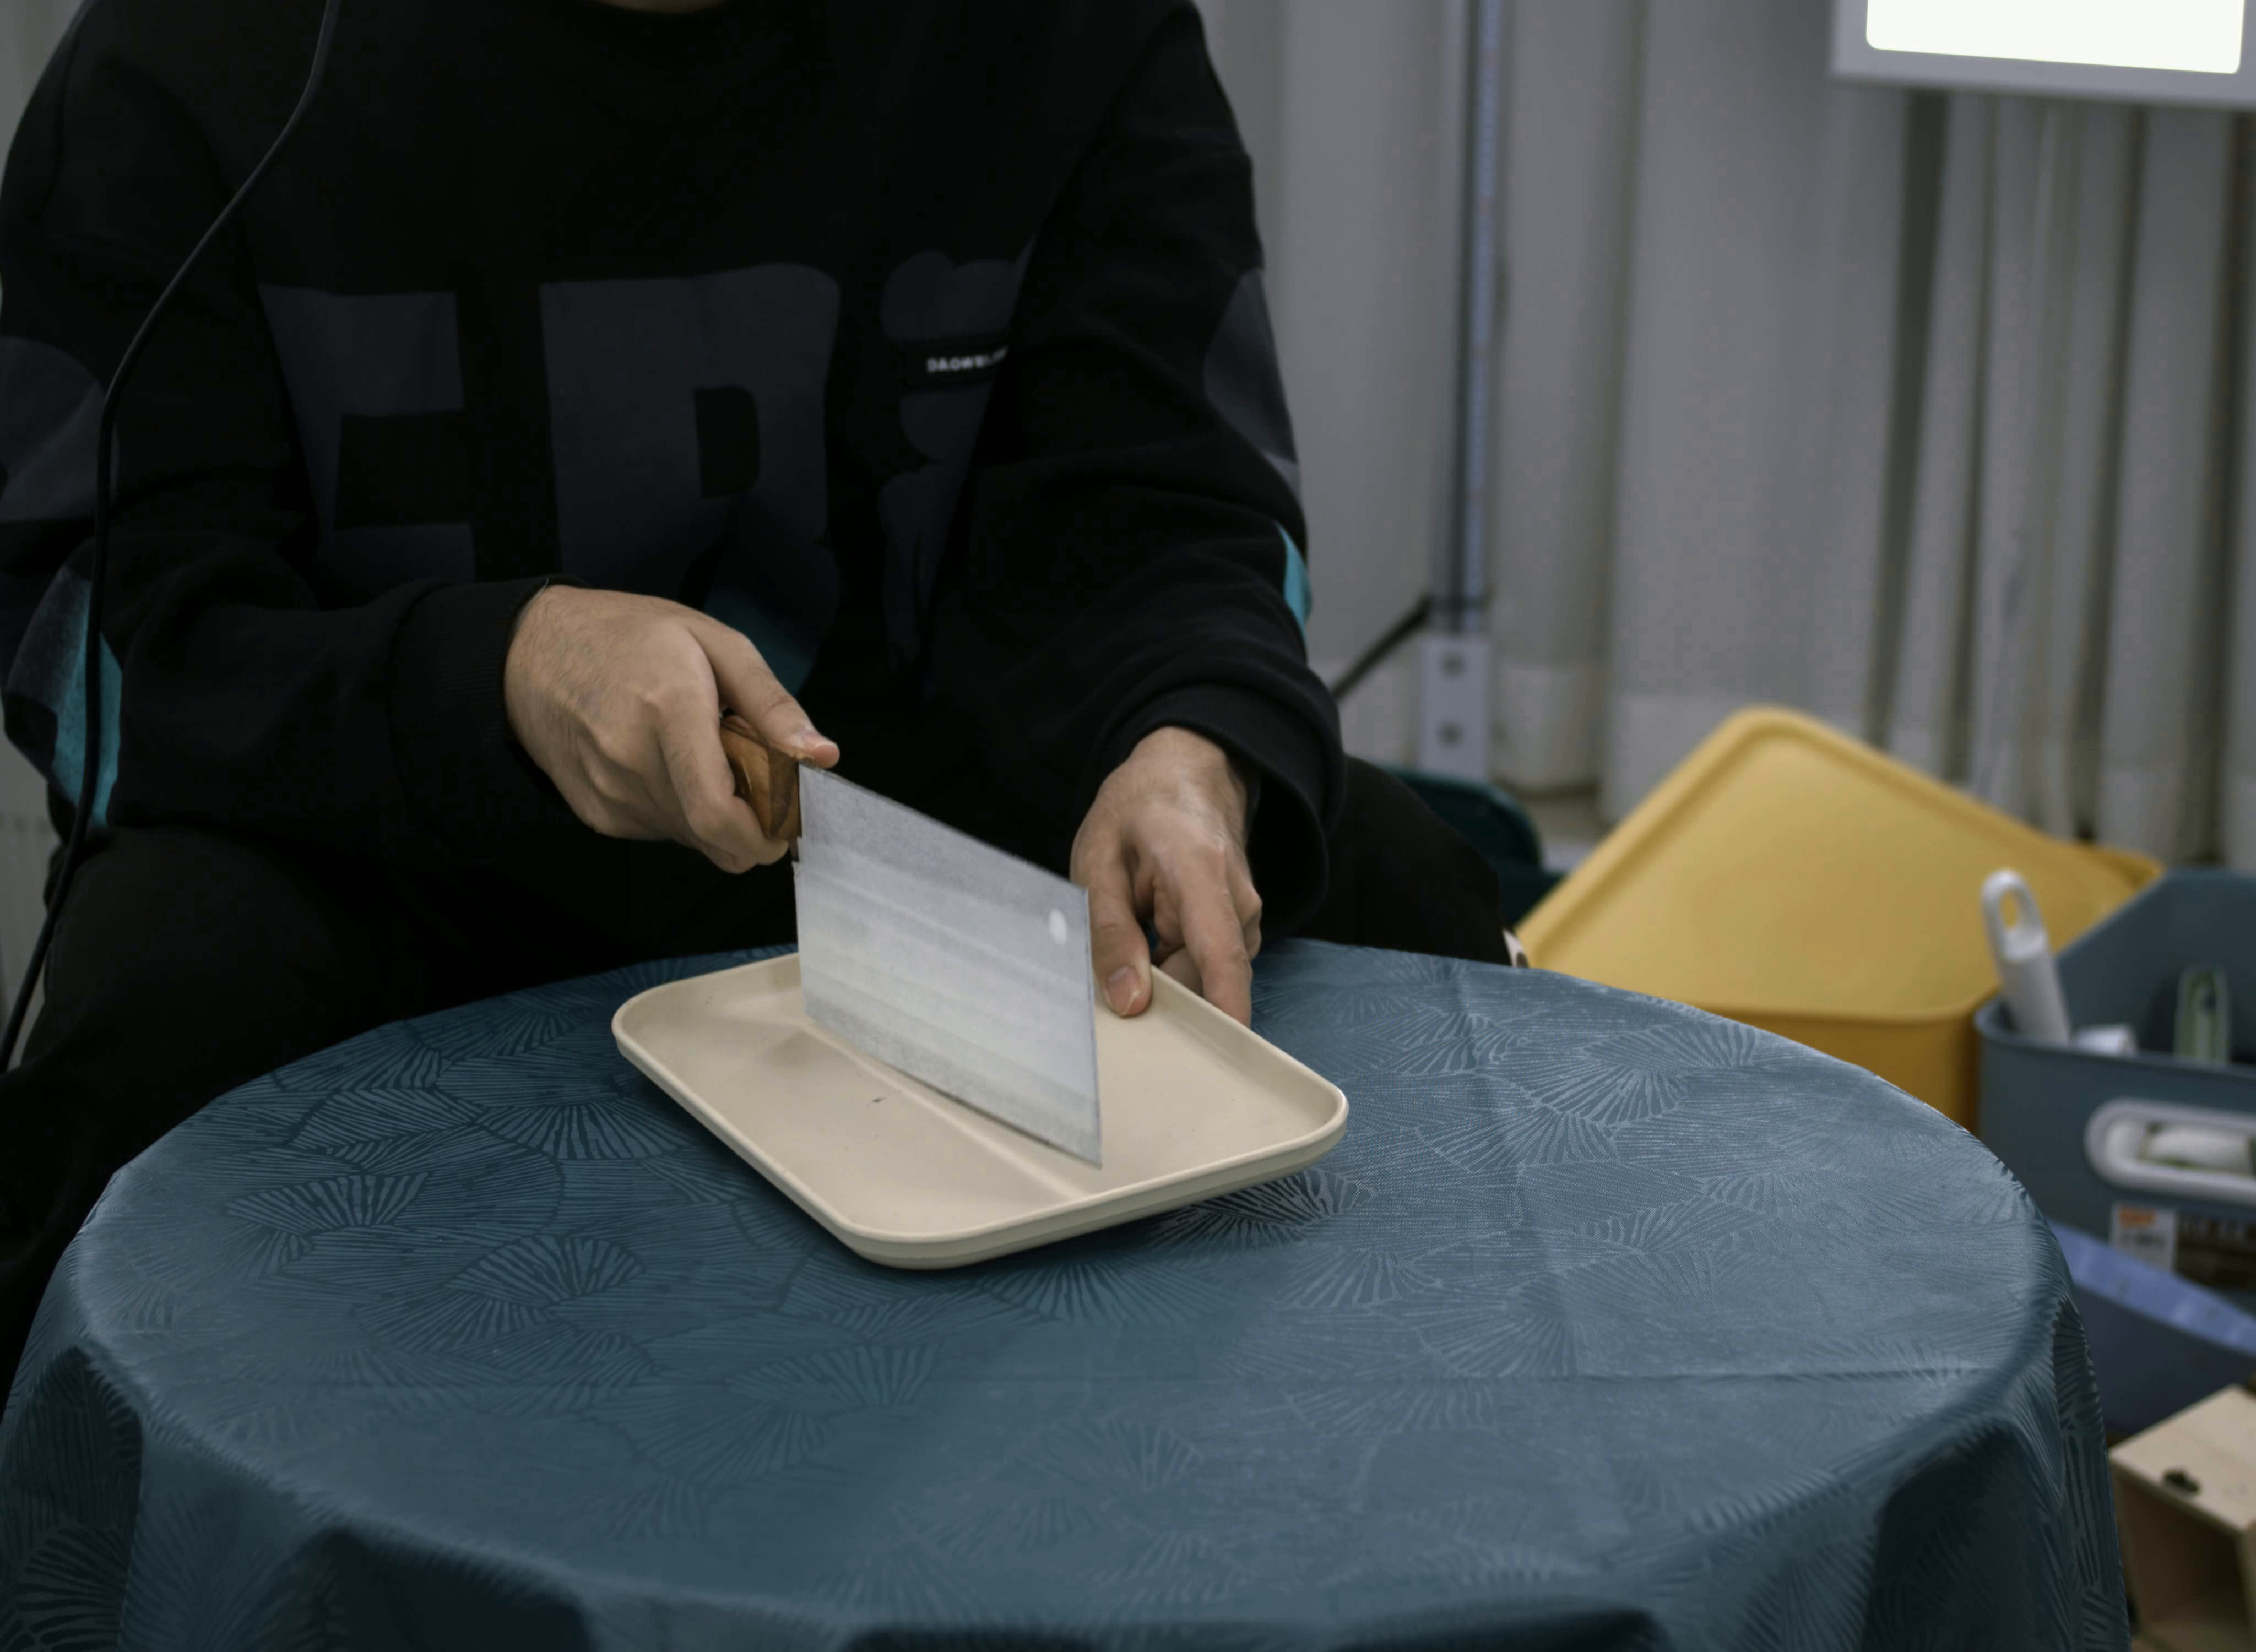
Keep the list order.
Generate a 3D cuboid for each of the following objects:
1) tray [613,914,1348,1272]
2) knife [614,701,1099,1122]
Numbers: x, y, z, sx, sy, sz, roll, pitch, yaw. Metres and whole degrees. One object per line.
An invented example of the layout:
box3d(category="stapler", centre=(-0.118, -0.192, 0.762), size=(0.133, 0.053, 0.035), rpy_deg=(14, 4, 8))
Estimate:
box3d(category="tray", centre=(-0.050, 0.080, 1.663), size=(0.171, 0.017, 0.236), rpy_deg=(-15, 22, -23))
box3d(category="knife", centre=(-0.089, 0.027, 1.683), size=(0.021, 0.094, 0.302), rpy_deg=(-14, 20, -29))
